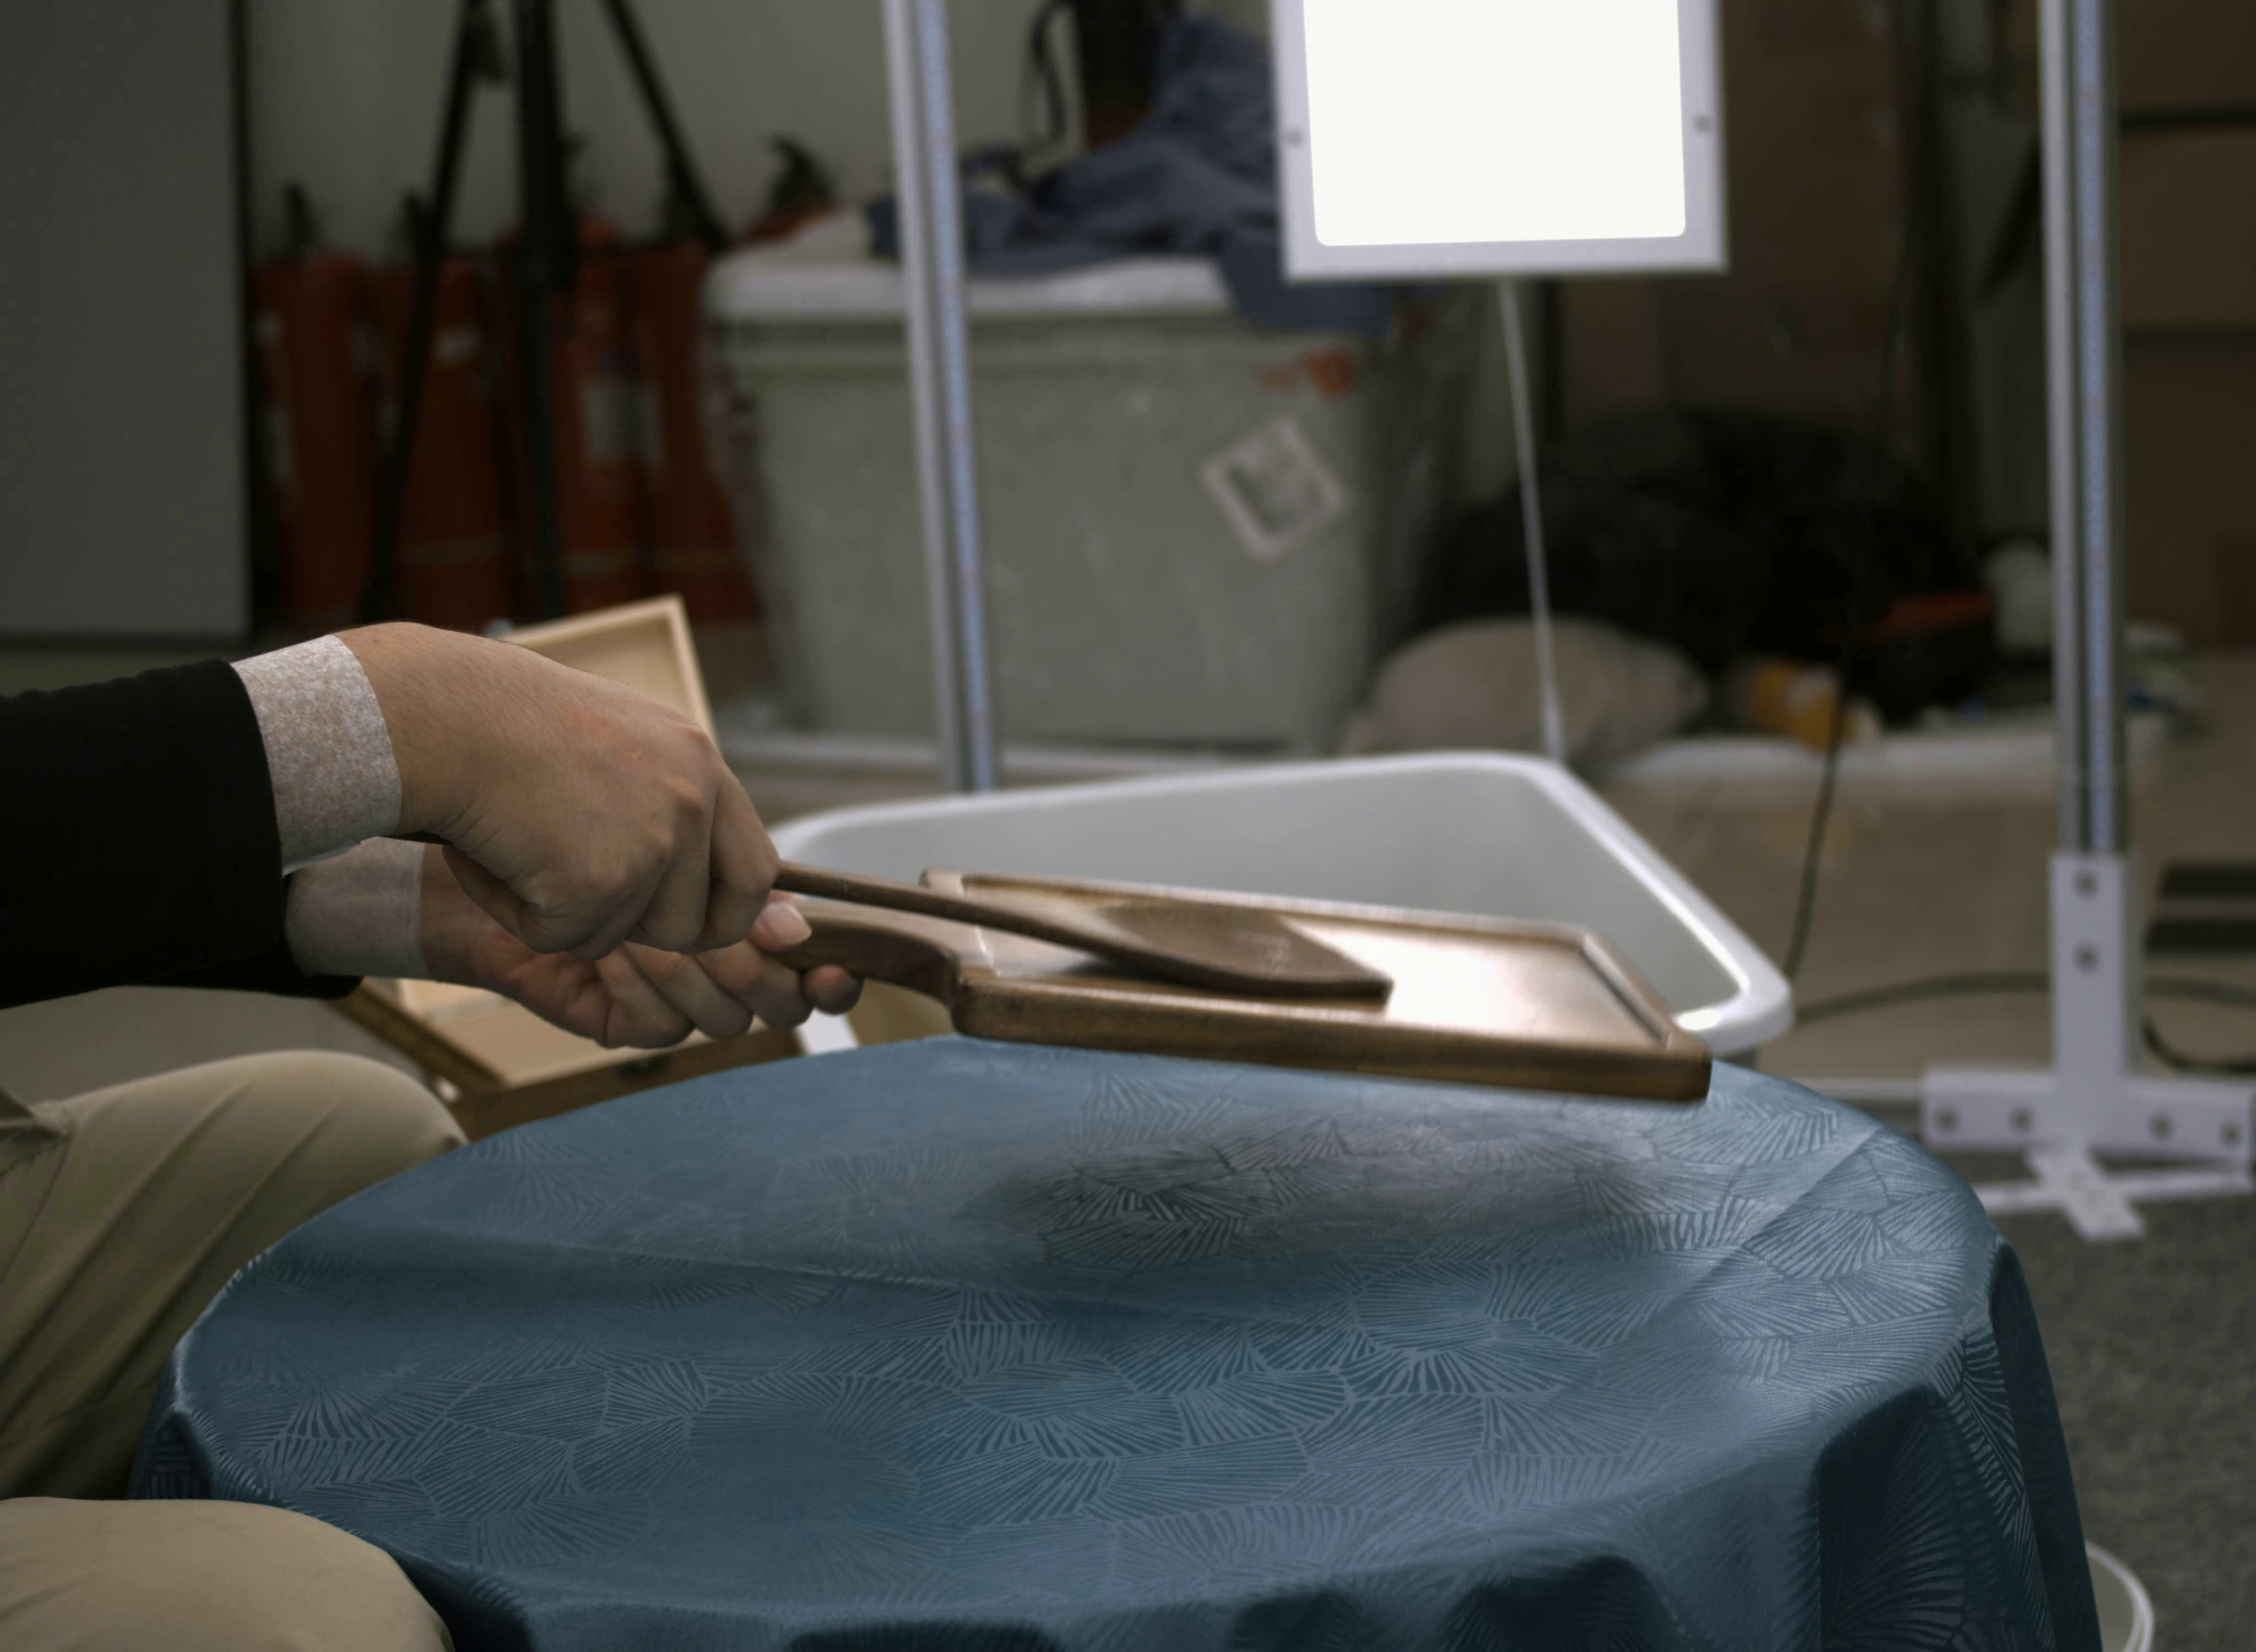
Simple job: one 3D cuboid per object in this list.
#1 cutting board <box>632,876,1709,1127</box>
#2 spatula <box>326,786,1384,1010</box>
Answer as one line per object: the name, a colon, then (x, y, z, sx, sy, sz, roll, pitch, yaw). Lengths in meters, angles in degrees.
cutting board: (0.007, 0.052, 1.865, 0.349, 0.023, 0.201, 7, 10, -6)
spatula: (-0.084, 0.022, 1.777, 0.377, 0.016, 0.098, 11, 10, -32)
